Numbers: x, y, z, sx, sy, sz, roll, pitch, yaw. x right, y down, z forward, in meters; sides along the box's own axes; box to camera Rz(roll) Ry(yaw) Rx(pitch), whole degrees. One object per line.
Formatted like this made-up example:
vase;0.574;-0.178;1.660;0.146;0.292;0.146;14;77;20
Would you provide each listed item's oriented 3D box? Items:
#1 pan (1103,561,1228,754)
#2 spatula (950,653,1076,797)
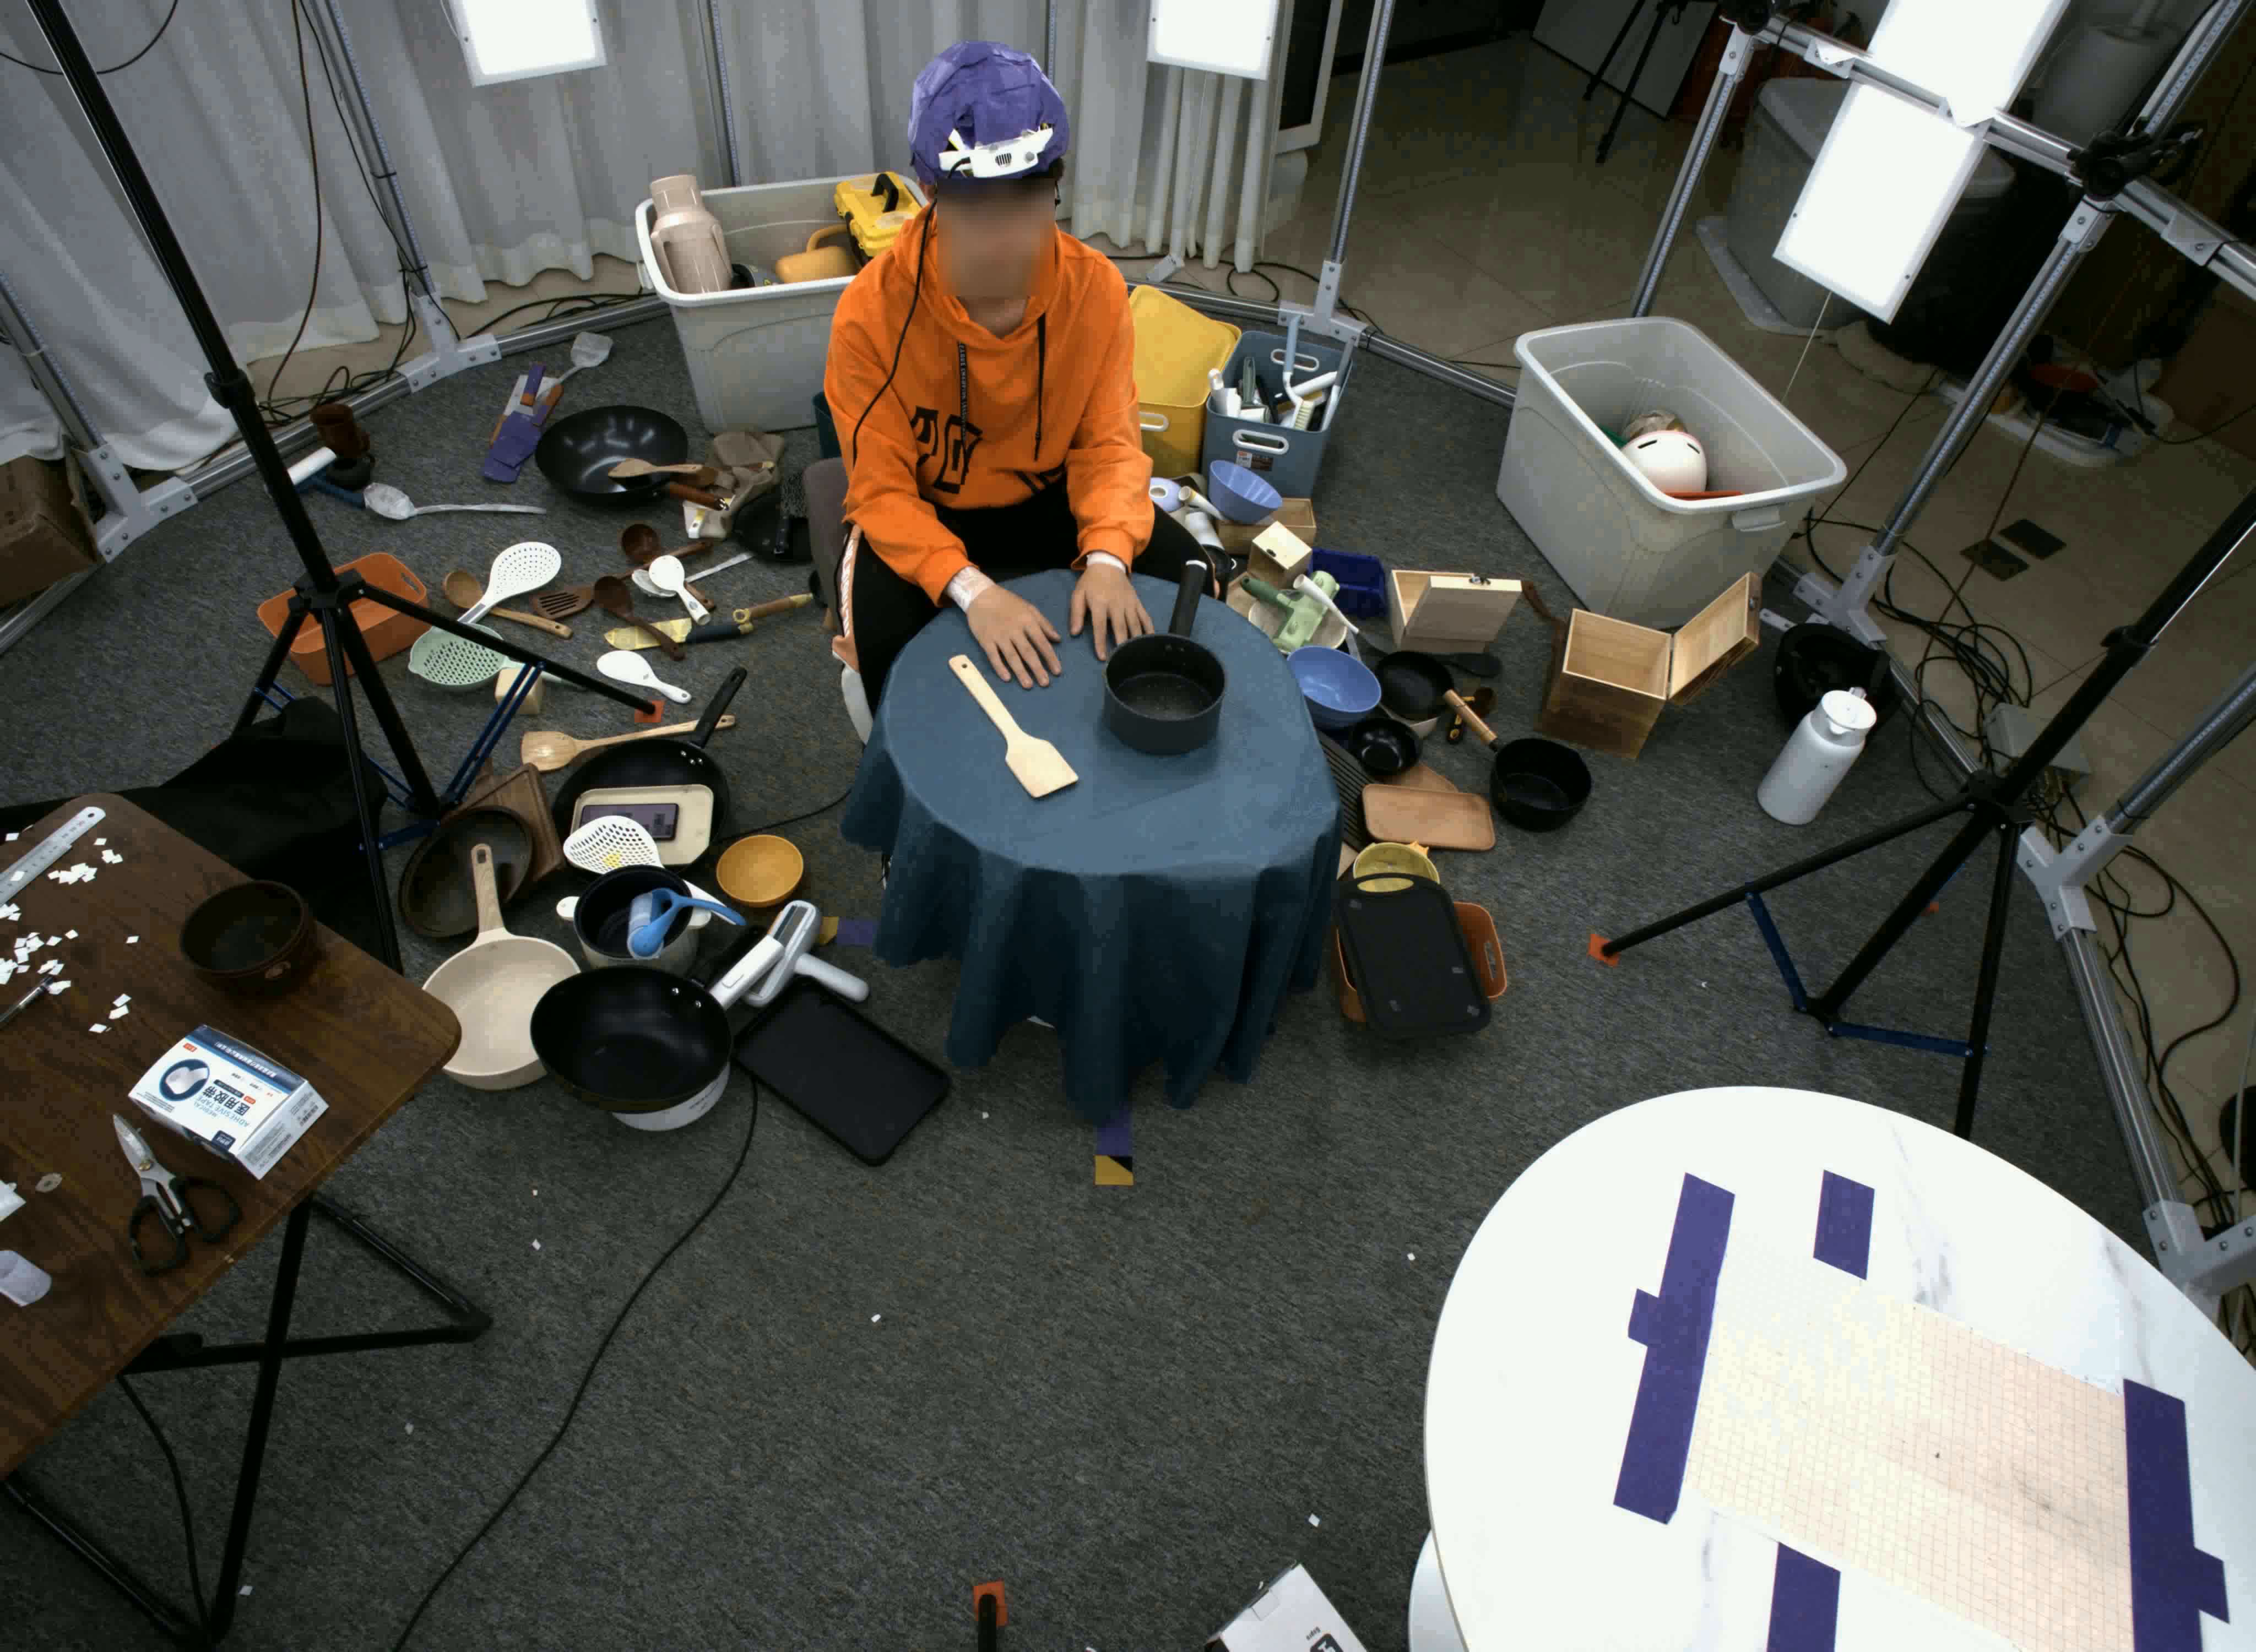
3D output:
pan;0.069;-0.244;1.831;0.172;0.084;0.336;14;51;7
spatula;-0.172;-0.147;1.779;0.072;0.010;0.299;-25;55;-19
